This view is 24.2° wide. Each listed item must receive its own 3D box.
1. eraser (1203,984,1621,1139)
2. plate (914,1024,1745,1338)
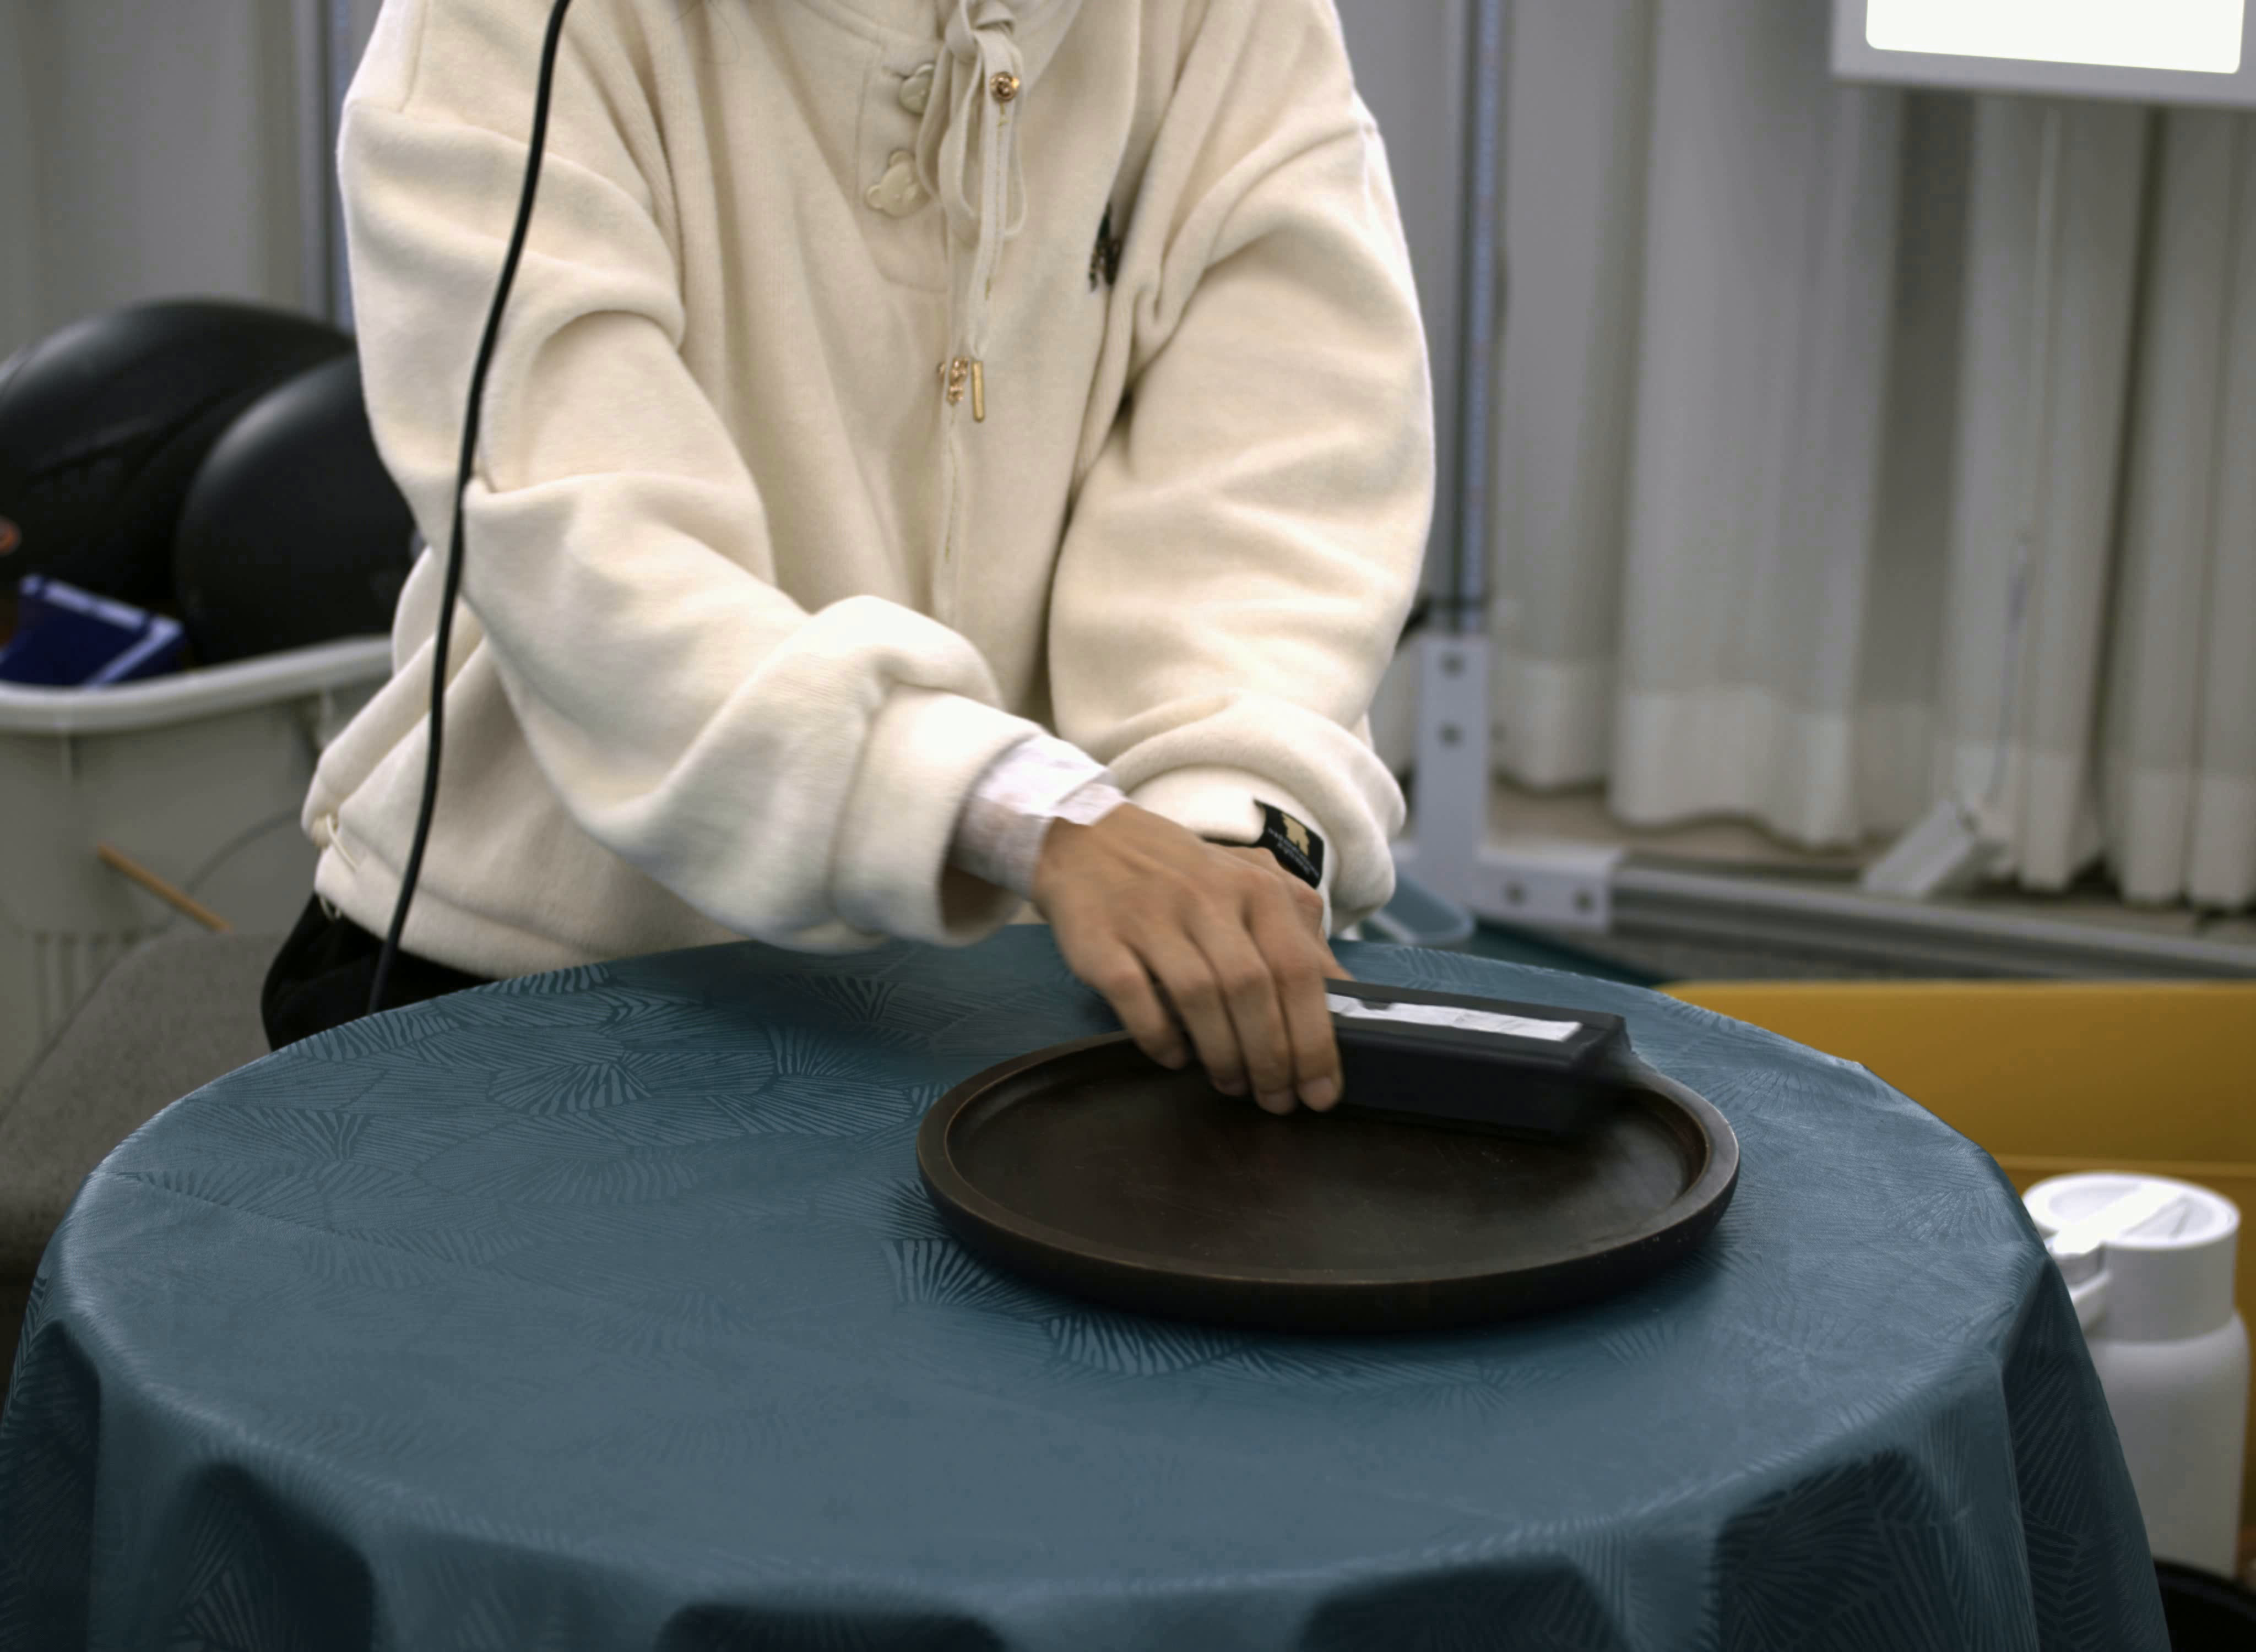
[{"bbox_3d":[0.090,0.074,1.664,0.124,0.031,0.053,5,15,20],"label":"eraser"},{"bbox_3d":[0.061,0.104,1.607,0.254,0.029,0.253,1,17,0],"label":"plate"}]
